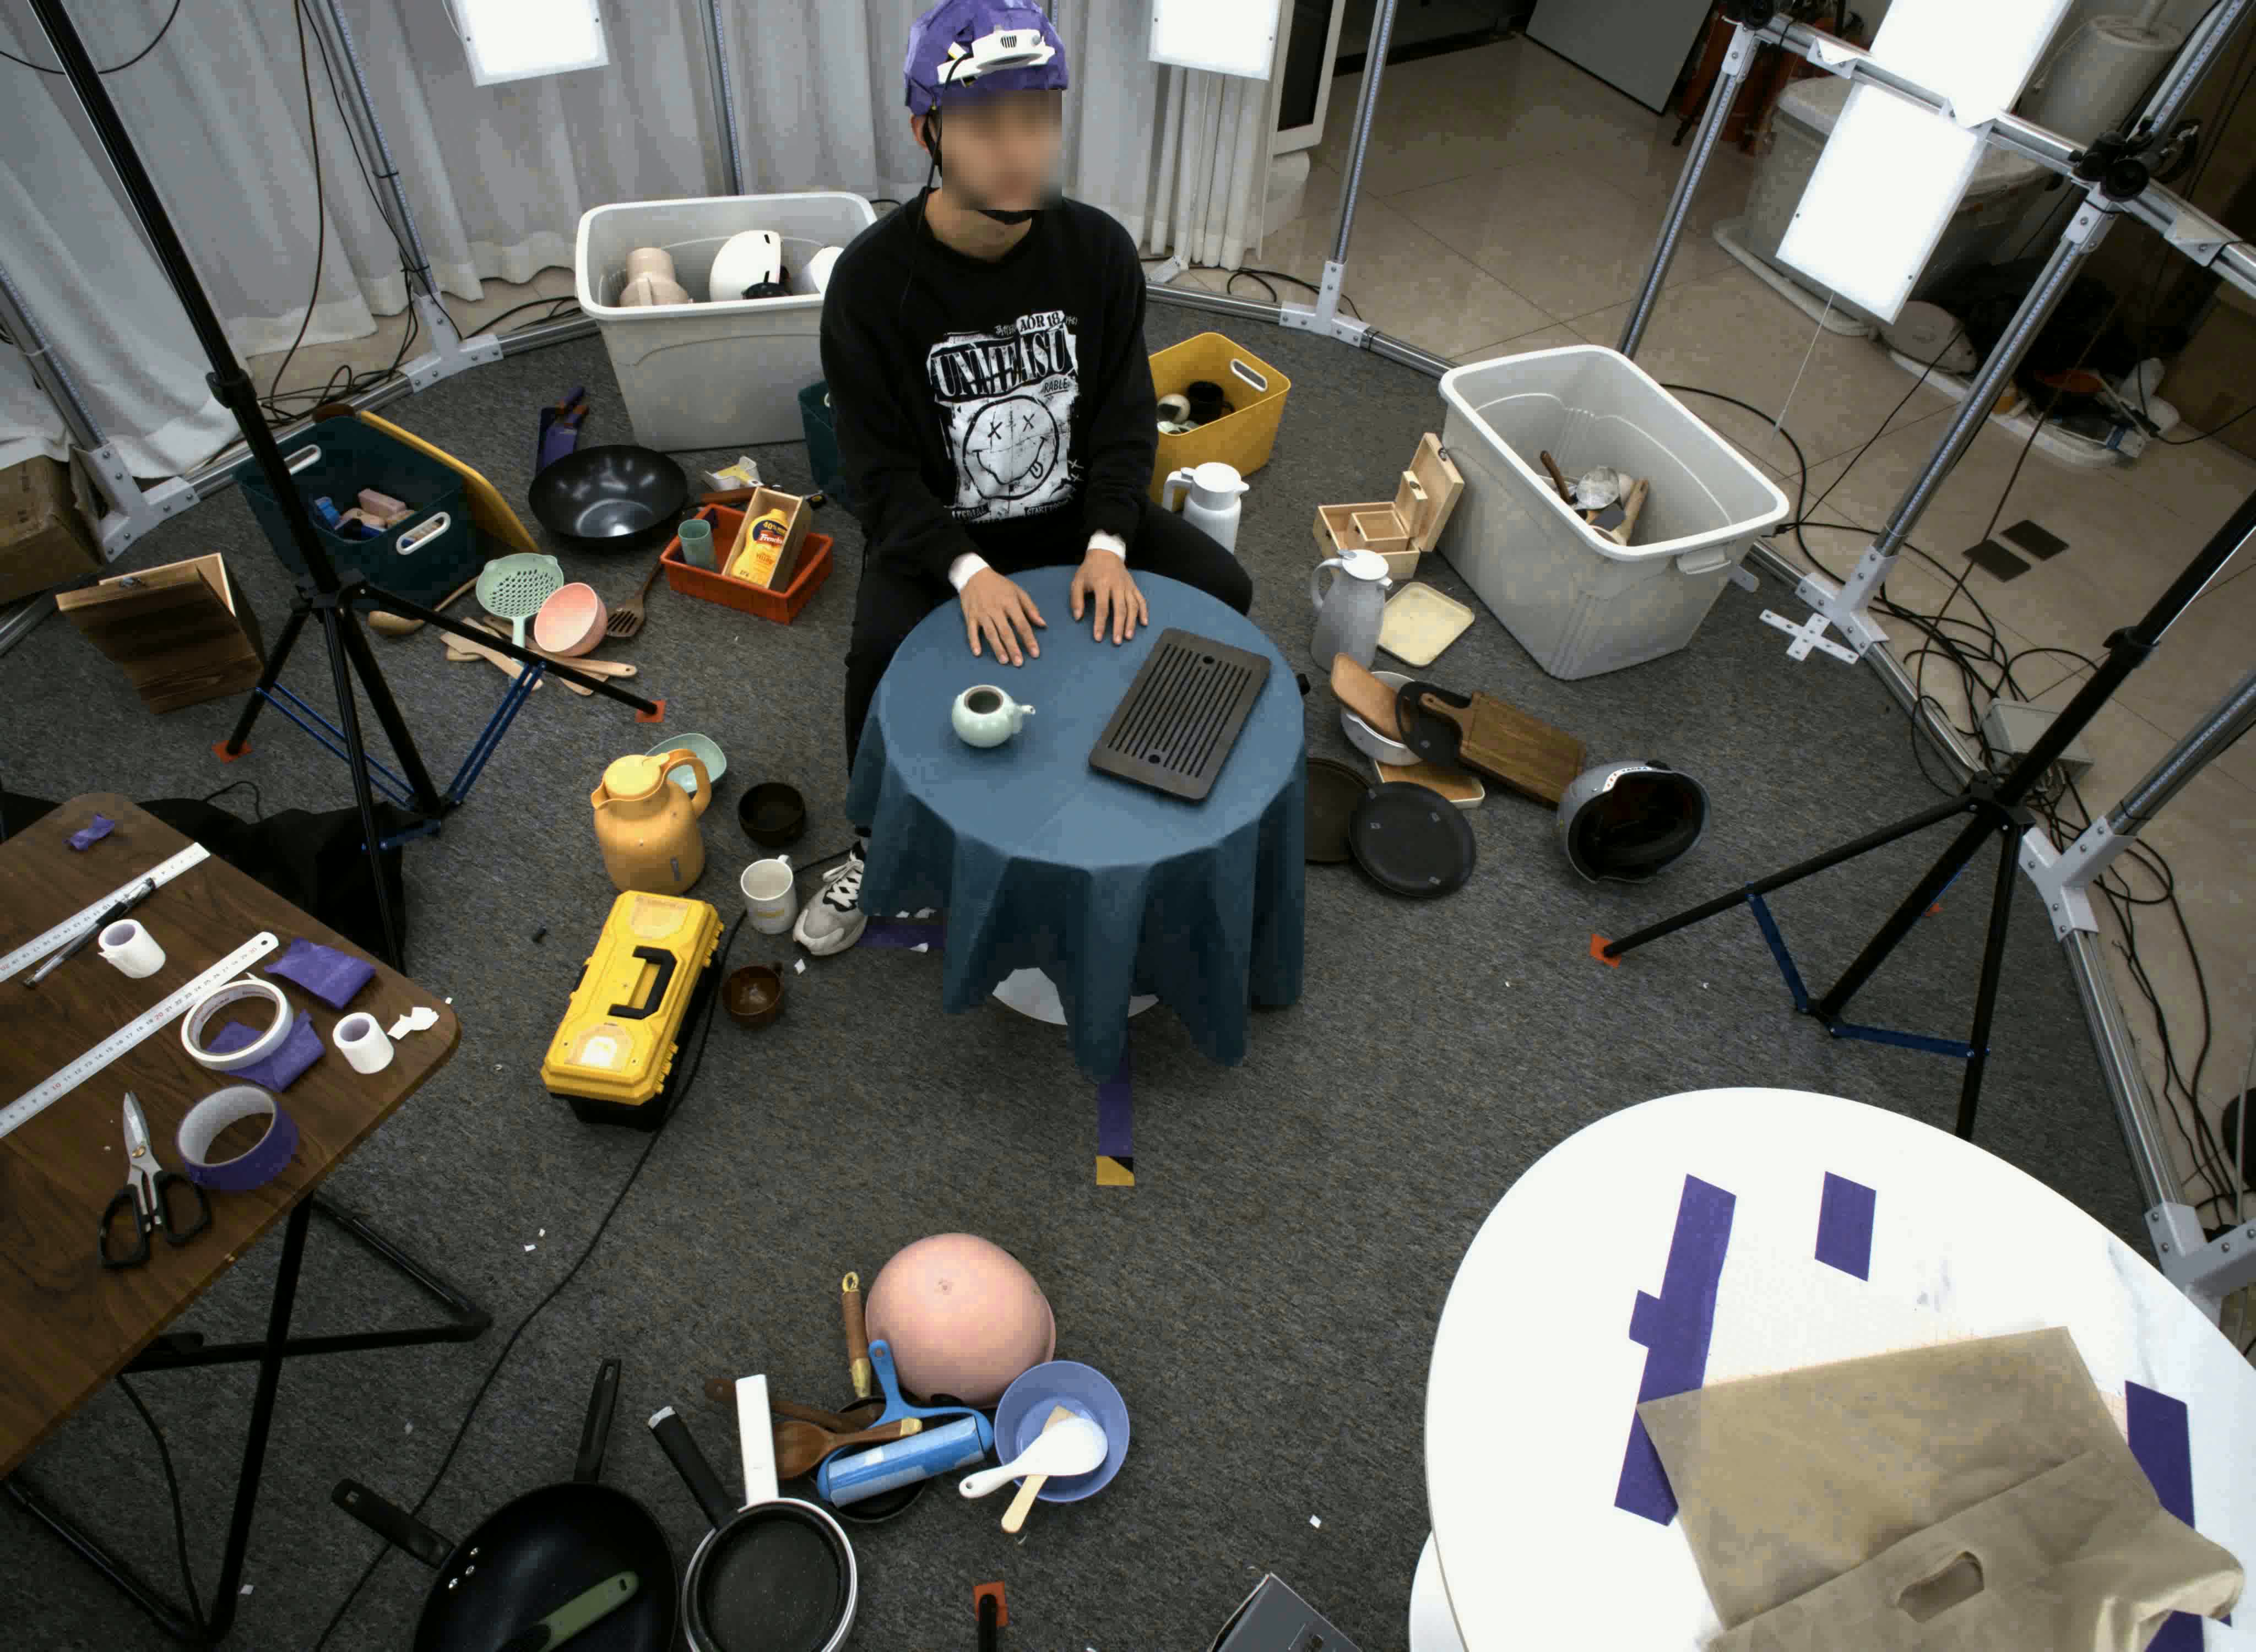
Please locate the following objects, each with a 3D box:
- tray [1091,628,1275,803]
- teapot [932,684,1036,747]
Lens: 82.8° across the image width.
[{"bbox_3d":[0.082,-0.160,1.801,0.171,0.018,0.312,19,50,13],"label":"tray"},{"bbox_3d":[-0.195,-0.150,1.740,0.144,0.073,0.090,16,50,8],"label":"teapot"}]
